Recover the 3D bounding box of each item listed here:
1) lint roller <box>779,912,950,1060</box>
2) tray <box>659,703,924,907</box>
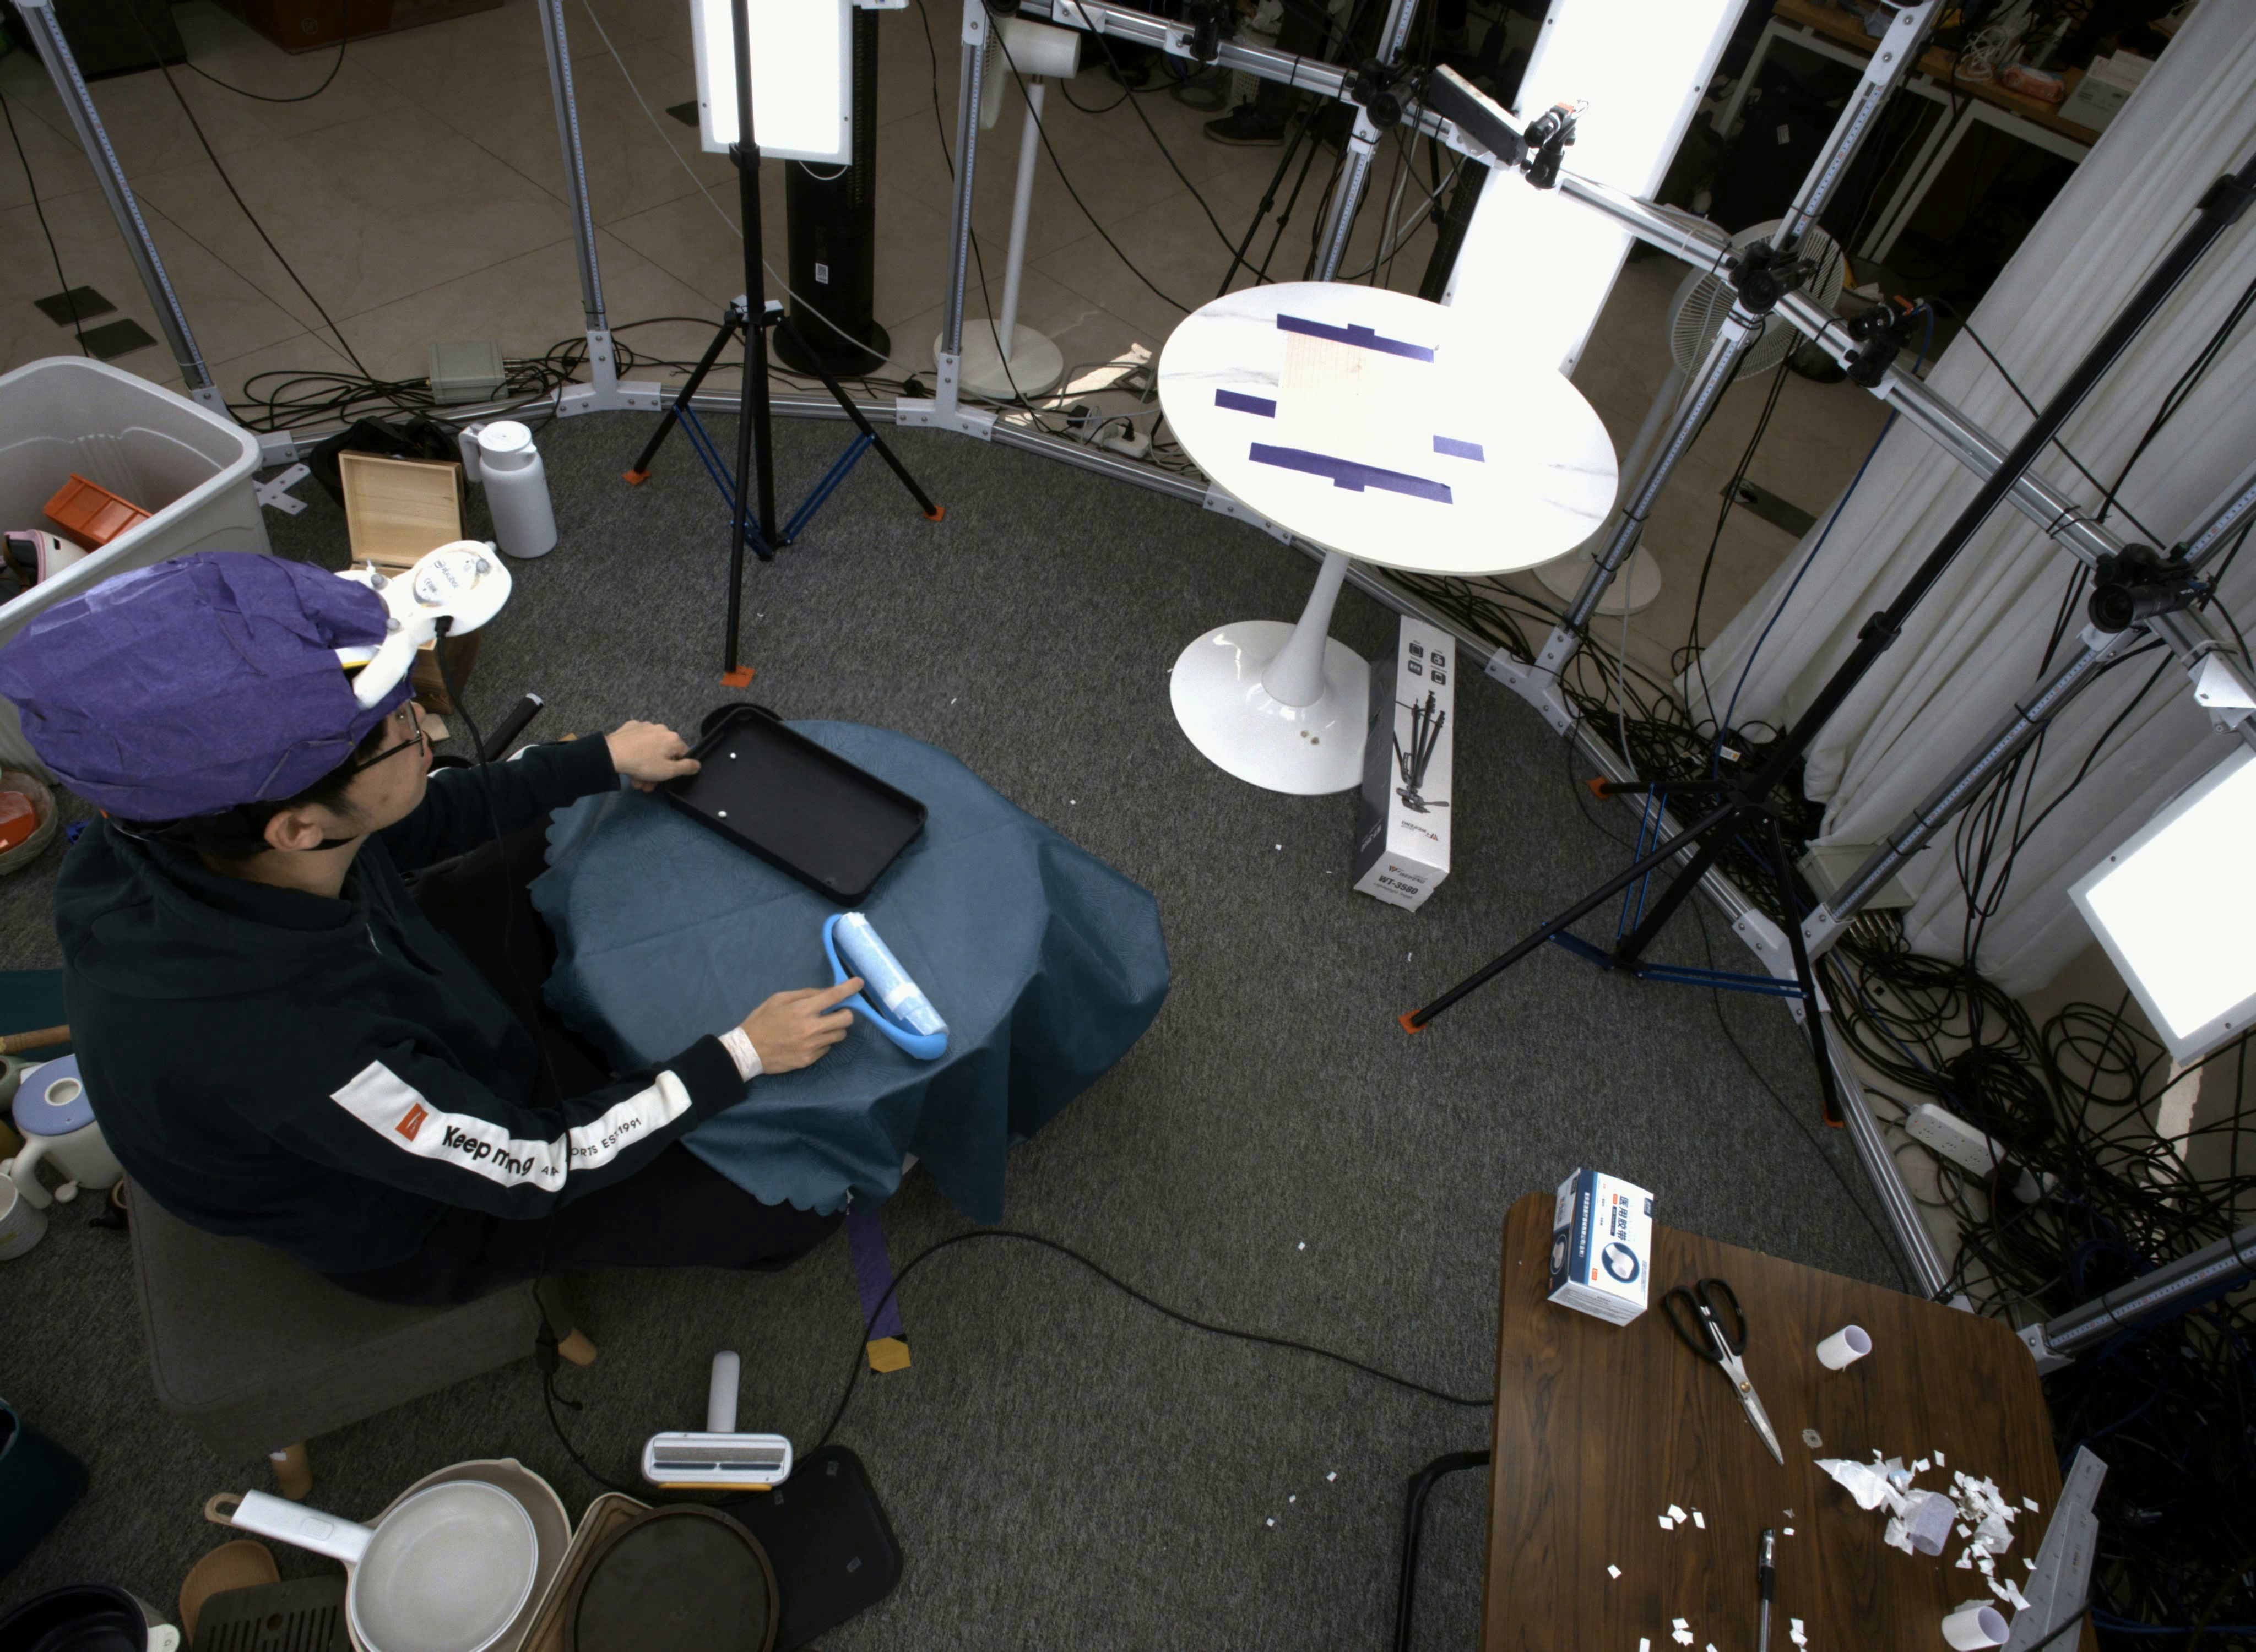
[{"bbox_3d":[-0.337,0.215,1.557,0.181,0.069,0.224,-32,69,-33],"label":"lint roller"},{"bbox_3d":[-0.447,-0.033,1.724,0.314,0.037,0.183,29,53,5],"label":"tray"}]
